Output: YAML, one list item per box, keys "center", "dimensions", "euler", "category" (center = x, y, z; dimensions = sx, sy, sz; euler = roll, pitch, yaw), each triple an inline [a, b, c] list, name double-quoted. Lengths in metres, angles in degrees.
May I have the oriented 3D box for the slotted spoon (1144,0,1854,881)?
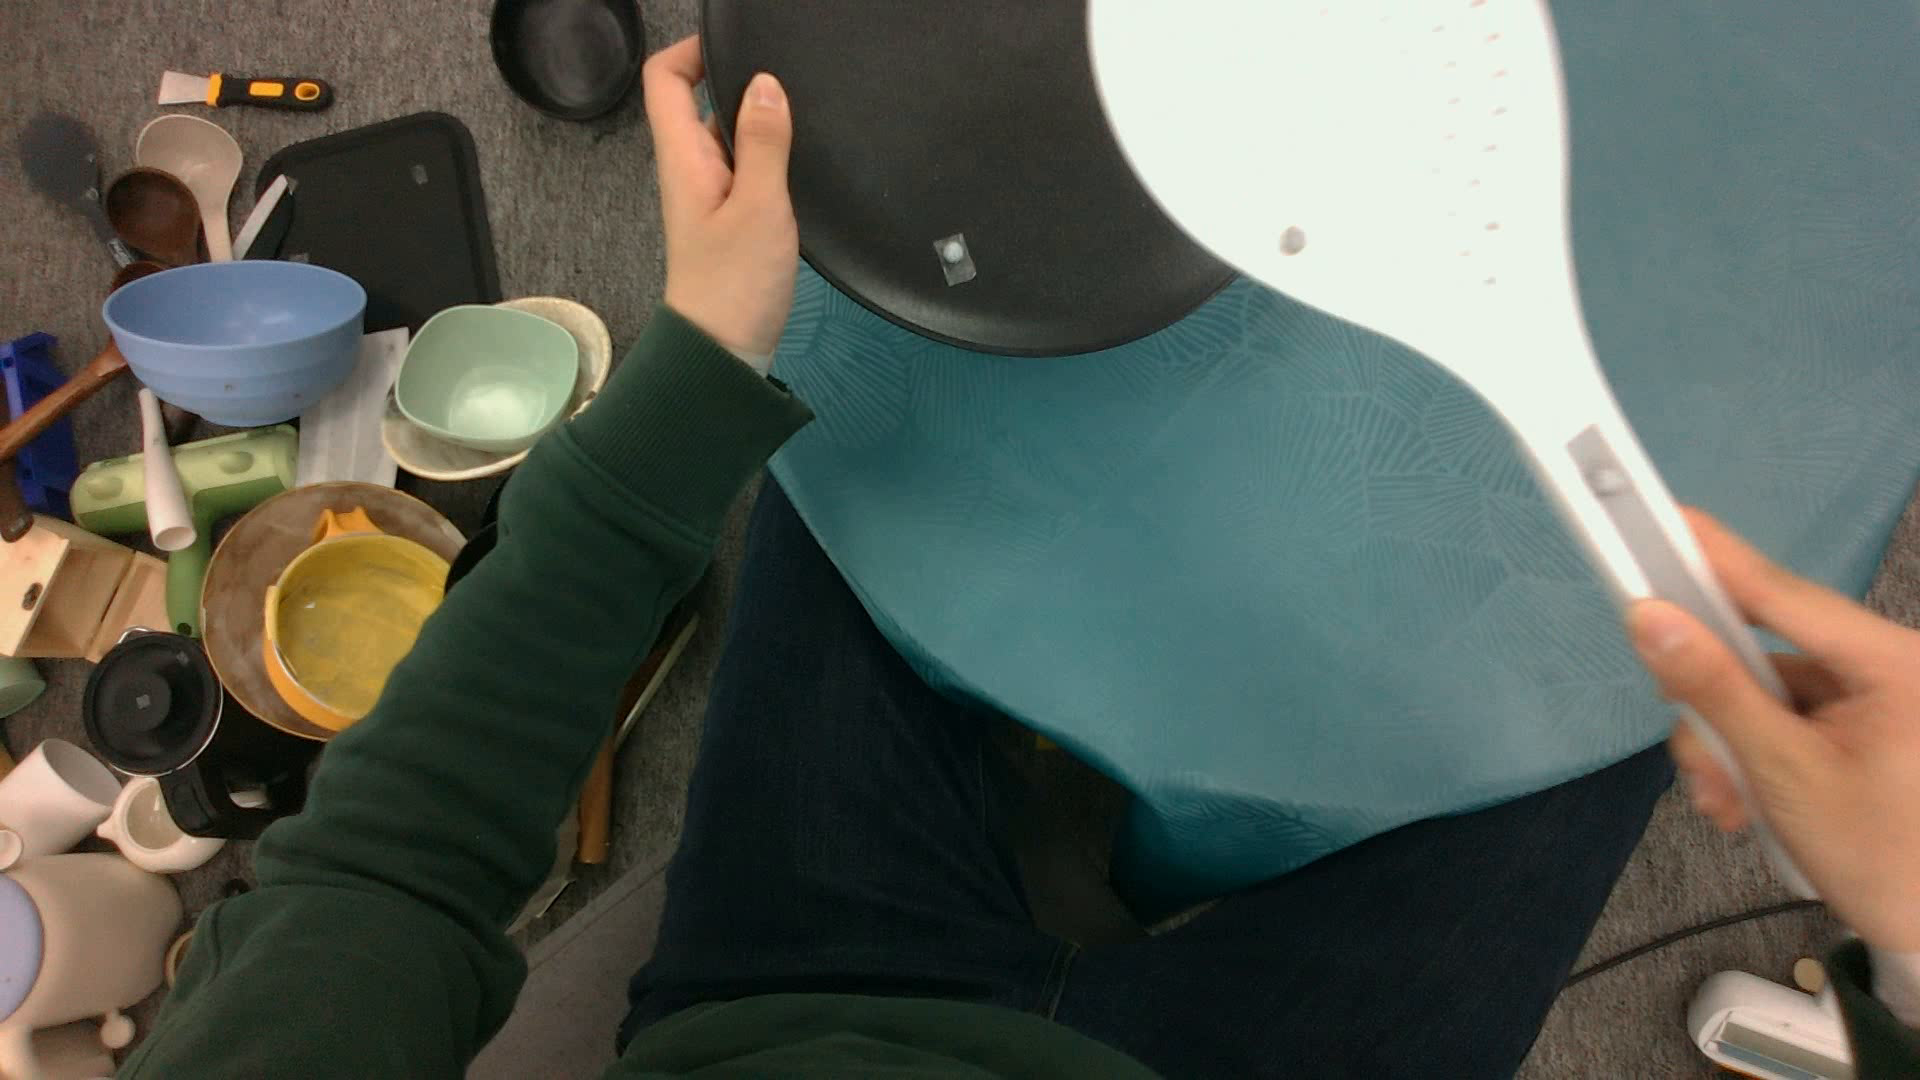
- center: [0.170, -0.049, 0.390]
  dimensions: [0.136, 0.046, 0.349]
  euler: [-32, 95, -2]
  category: "slotted spoon"

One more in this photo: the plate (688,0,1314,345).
- center: [0.020, -0.195, 0.532]
  dimensions: [0.244, 0.023, 0.244]
  euler: [0, 89, -11]
  category: "plate"
